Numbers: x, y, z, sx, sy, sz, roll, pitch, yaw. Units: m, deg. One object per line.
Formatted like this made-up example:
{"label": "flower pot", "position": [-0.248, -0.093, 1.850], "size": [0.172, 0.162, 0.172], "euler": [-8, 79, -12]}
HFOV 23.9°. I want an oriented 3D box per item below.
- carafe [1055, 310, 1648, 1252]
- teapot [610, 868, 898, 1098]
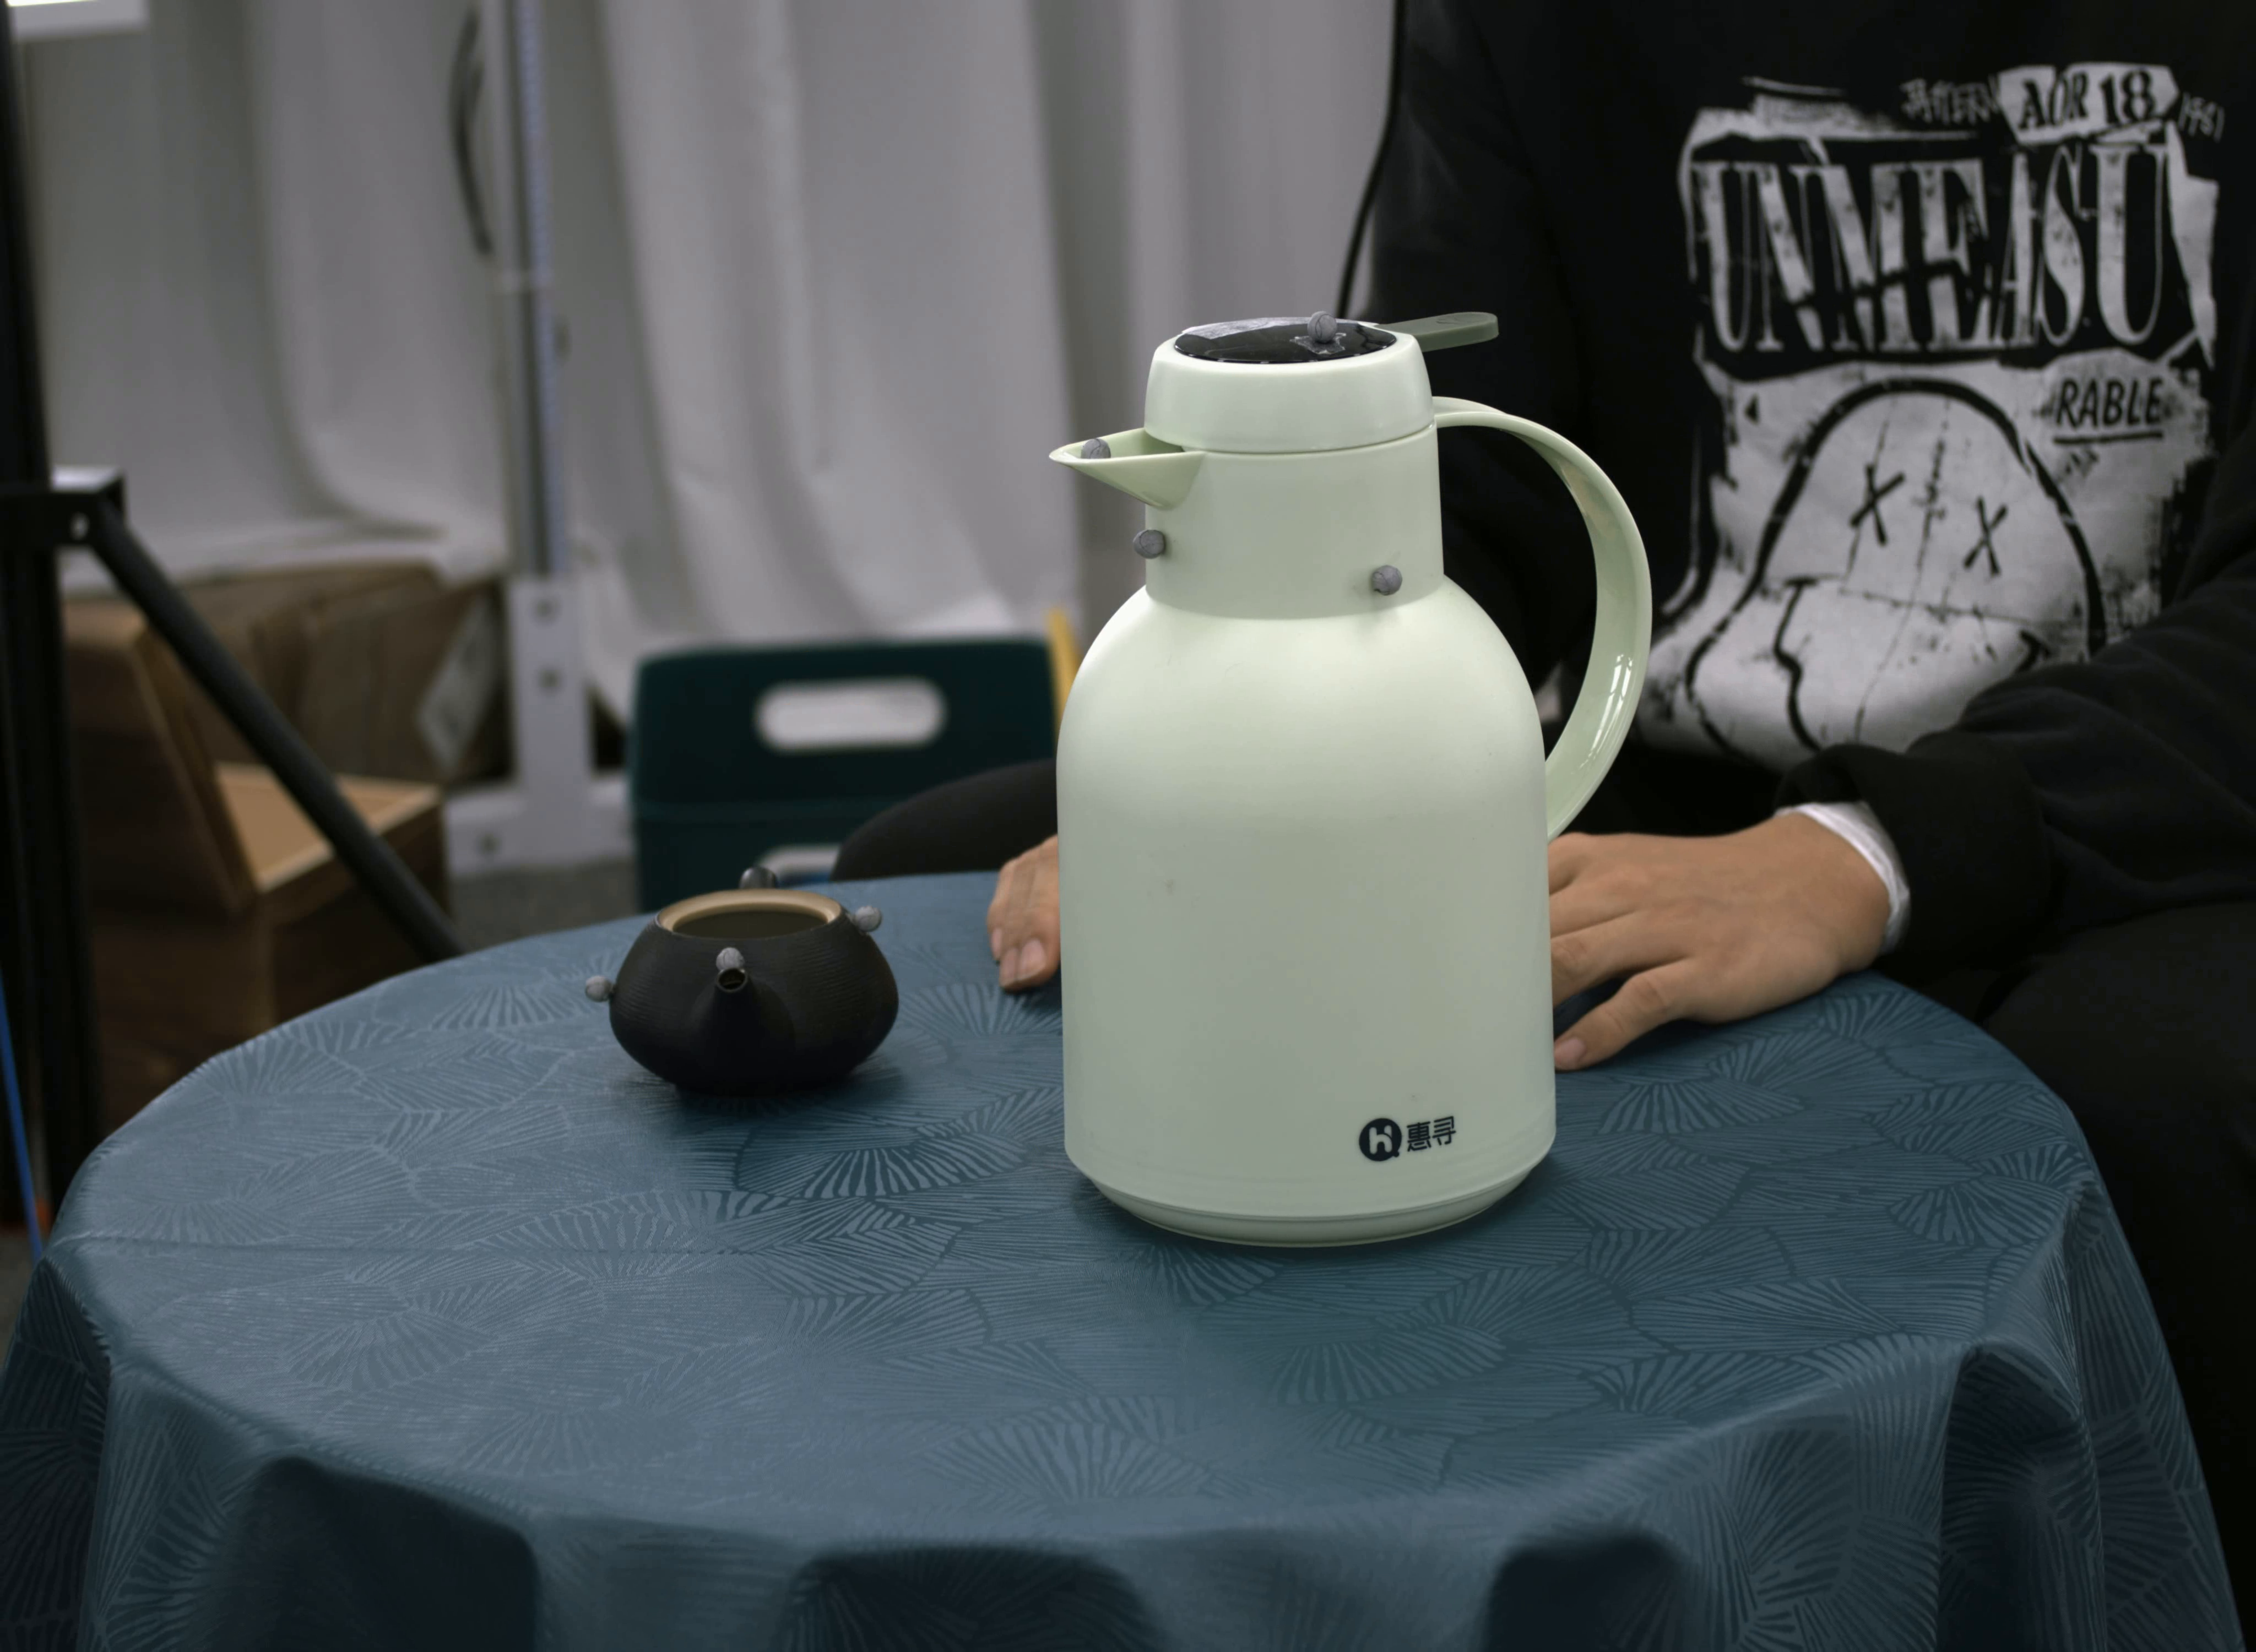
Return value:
{"label": "carafe", "position": [0.063, -0.017, 1.531], "size": [0.183, 0.257, 0.147], "euler": [-5, 13, -24]}
{"label": "teapot", "position": [-0.117, 0.052, 1.673], "size": [0.090, 0.053, 0.133], "euler": [0, 16, 1]}
